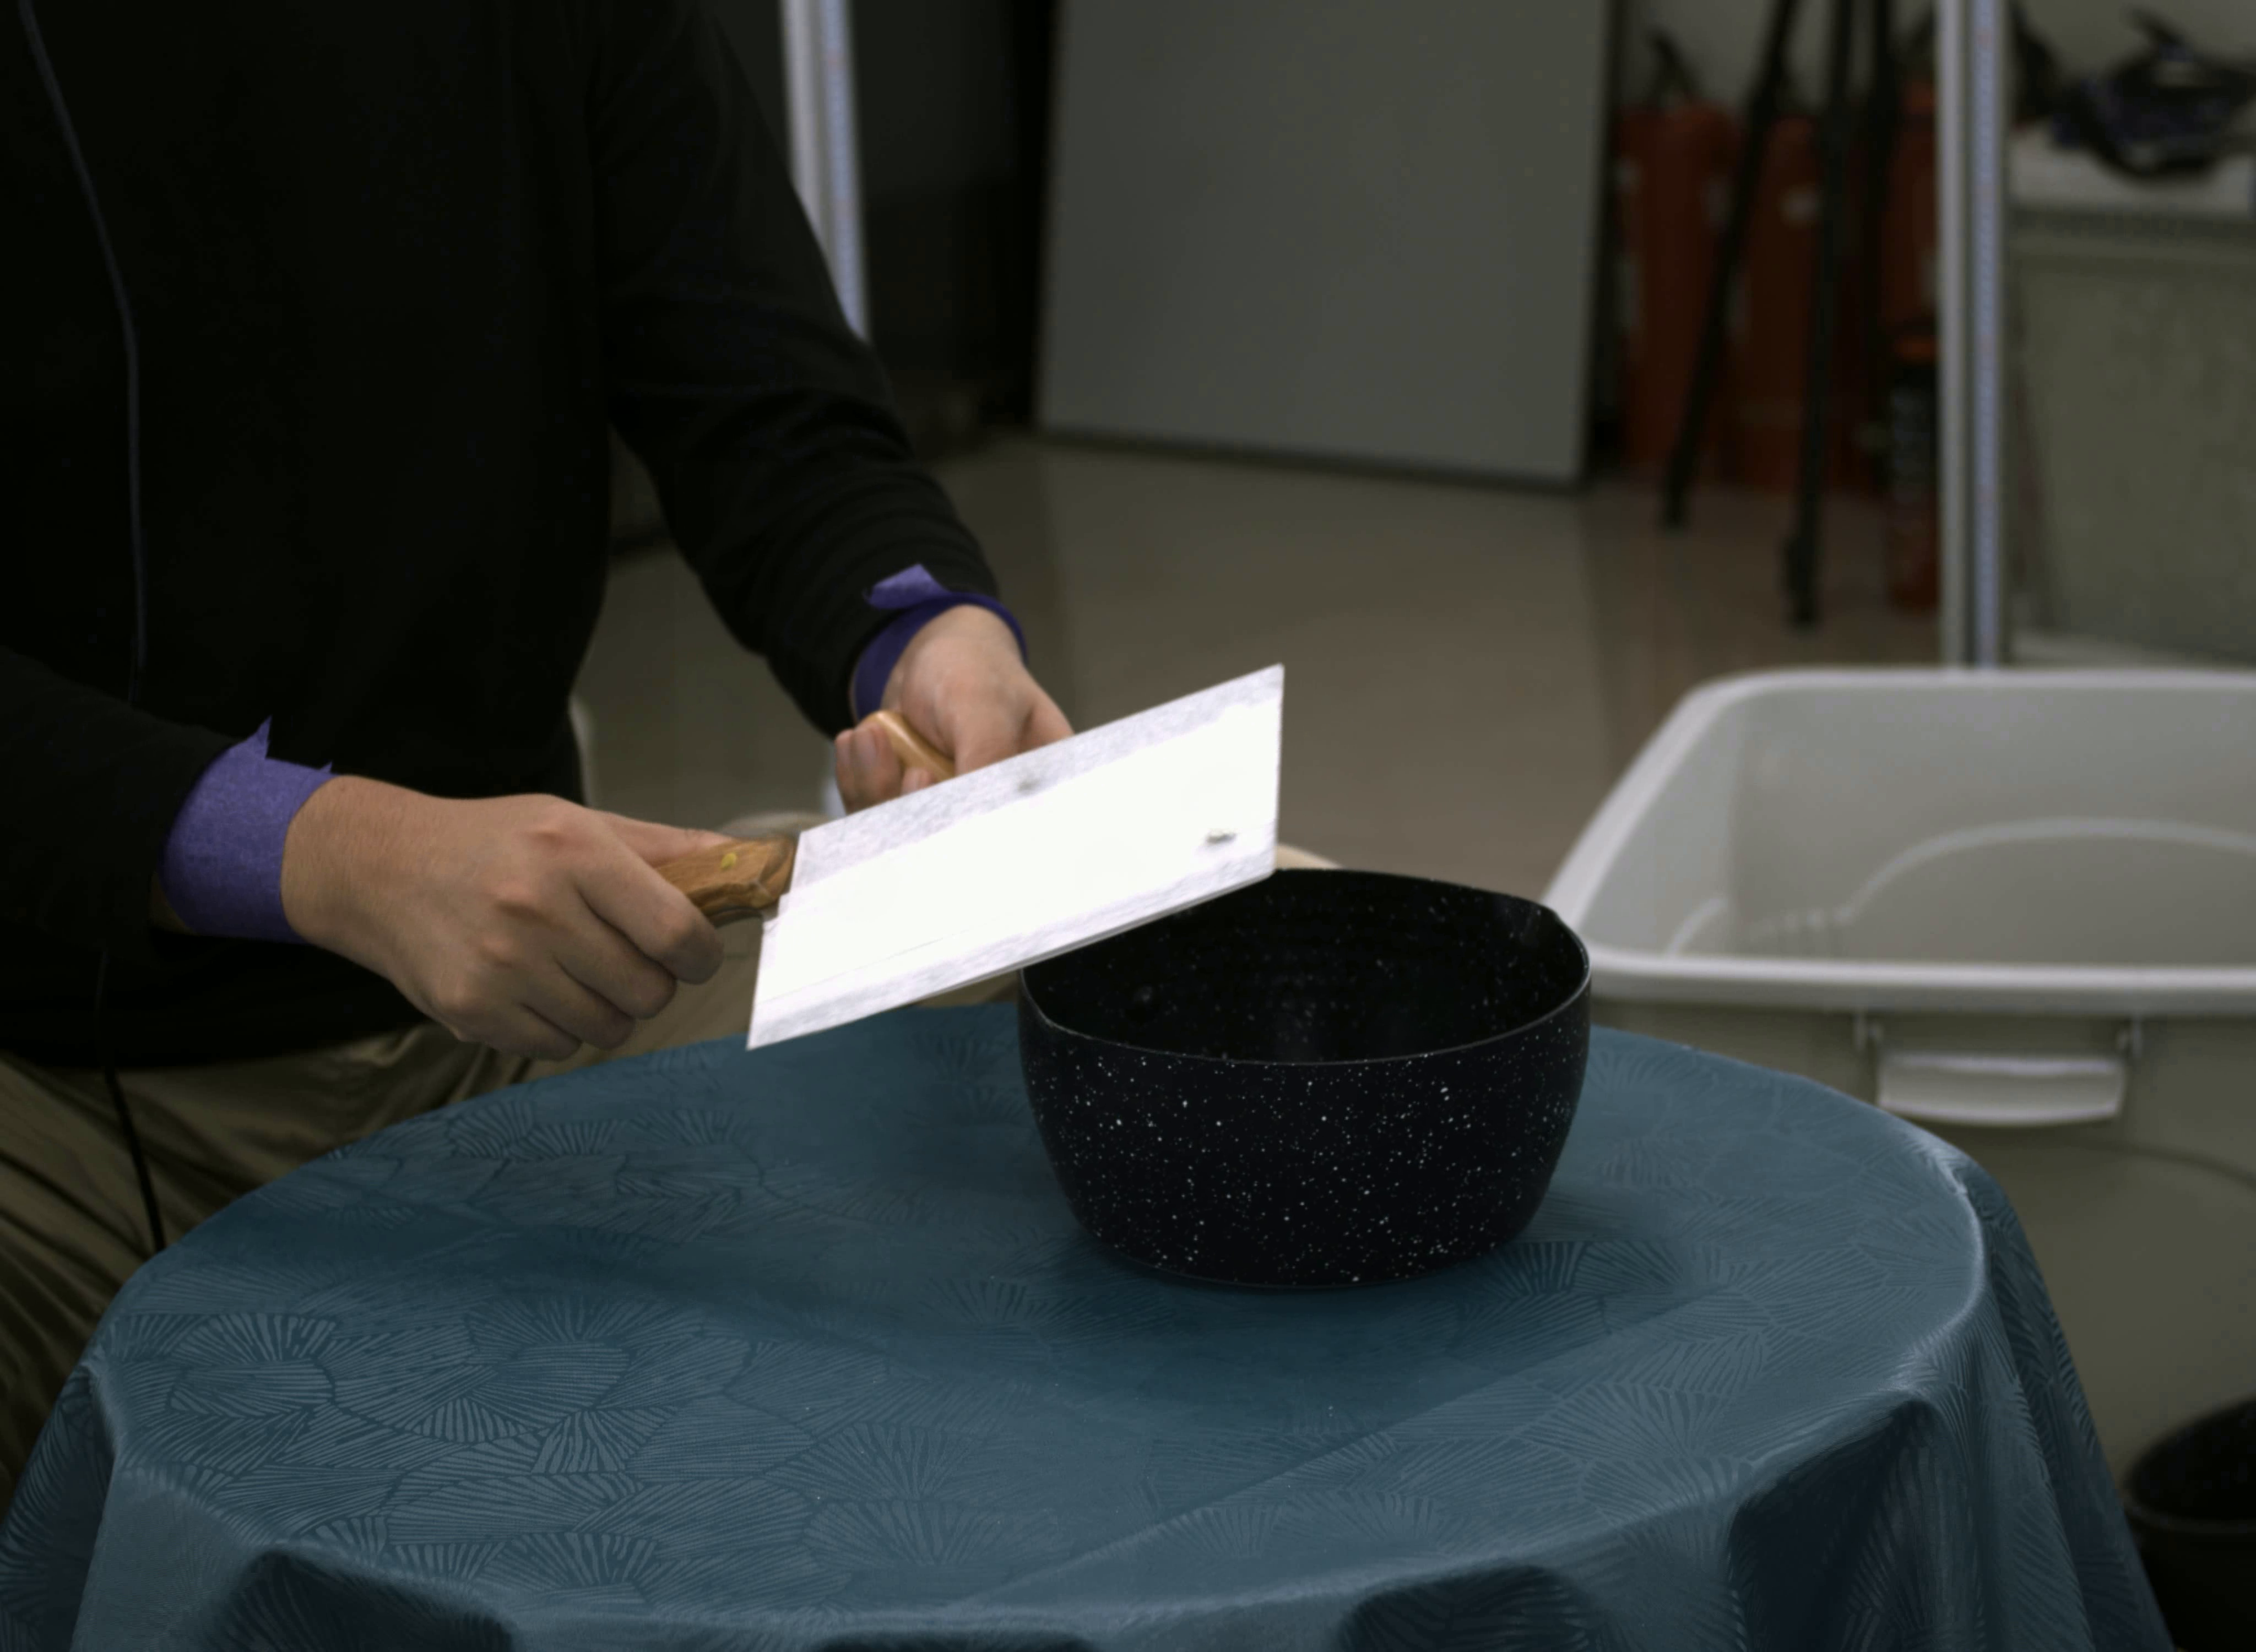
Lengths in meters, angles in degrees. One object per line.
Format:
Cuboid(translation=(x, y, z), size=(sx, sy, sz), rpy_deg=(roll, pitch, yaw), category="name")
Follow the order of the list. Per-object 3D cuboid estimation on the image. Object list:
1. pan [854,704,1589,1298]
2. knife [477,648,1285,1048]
Cuboid(translation=(0.008, 0.052, 1.778), size=(0.203, 0.109, 0.346), rpy_deg=(-14, 23, -34), category="pan")
Cuboid(translation=(-0.083, 0.024, 1.715), size=(0.306, 0.021, 0.093), rpy_deg=(-21, 43, 24), category="knife")
